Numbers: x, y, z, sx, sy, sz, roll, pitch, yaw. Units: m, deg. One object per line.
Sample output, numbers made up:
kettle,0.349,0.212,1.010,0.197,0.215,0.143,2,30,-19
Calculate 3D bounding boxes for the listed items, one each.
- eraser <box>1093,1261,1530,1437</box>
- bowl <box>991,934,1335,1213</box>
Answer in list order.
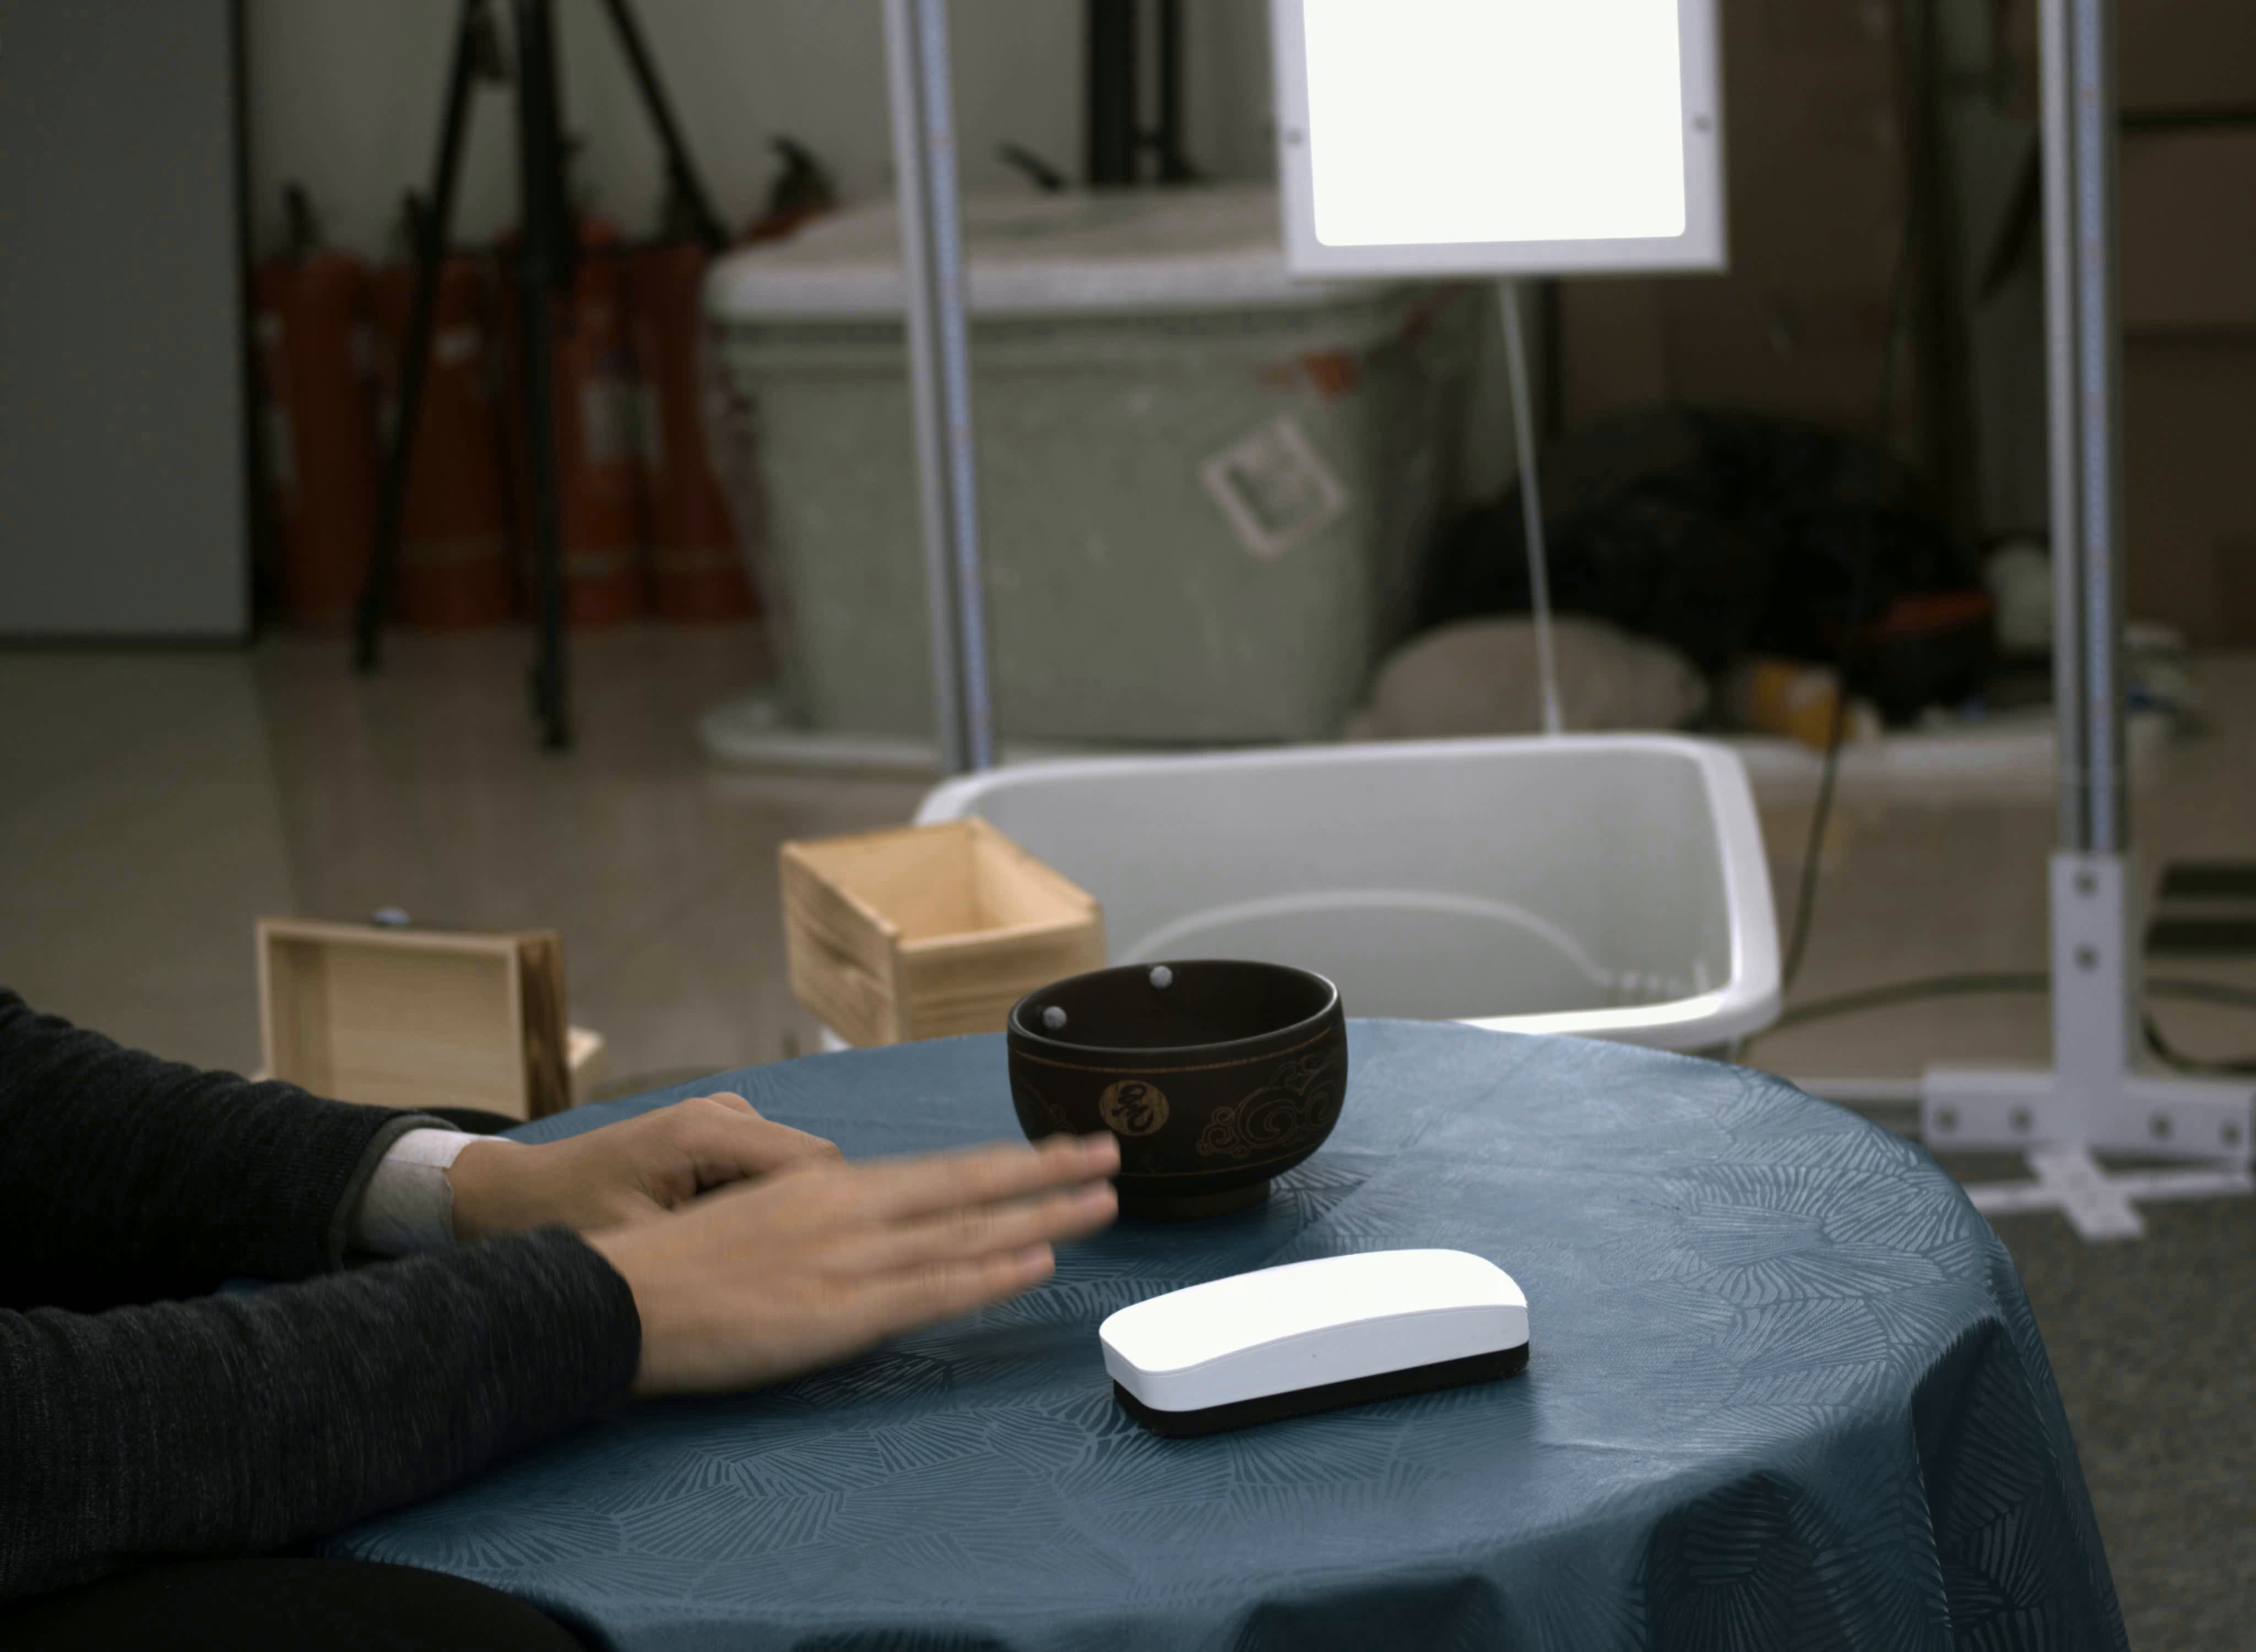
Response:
eraser,0.057,0.156,1.689,0.129,0.034,0.064,-8,12,-16
bowl,0.013,0.090,1.886,0.118,0.070,0.118,-5,21,1
